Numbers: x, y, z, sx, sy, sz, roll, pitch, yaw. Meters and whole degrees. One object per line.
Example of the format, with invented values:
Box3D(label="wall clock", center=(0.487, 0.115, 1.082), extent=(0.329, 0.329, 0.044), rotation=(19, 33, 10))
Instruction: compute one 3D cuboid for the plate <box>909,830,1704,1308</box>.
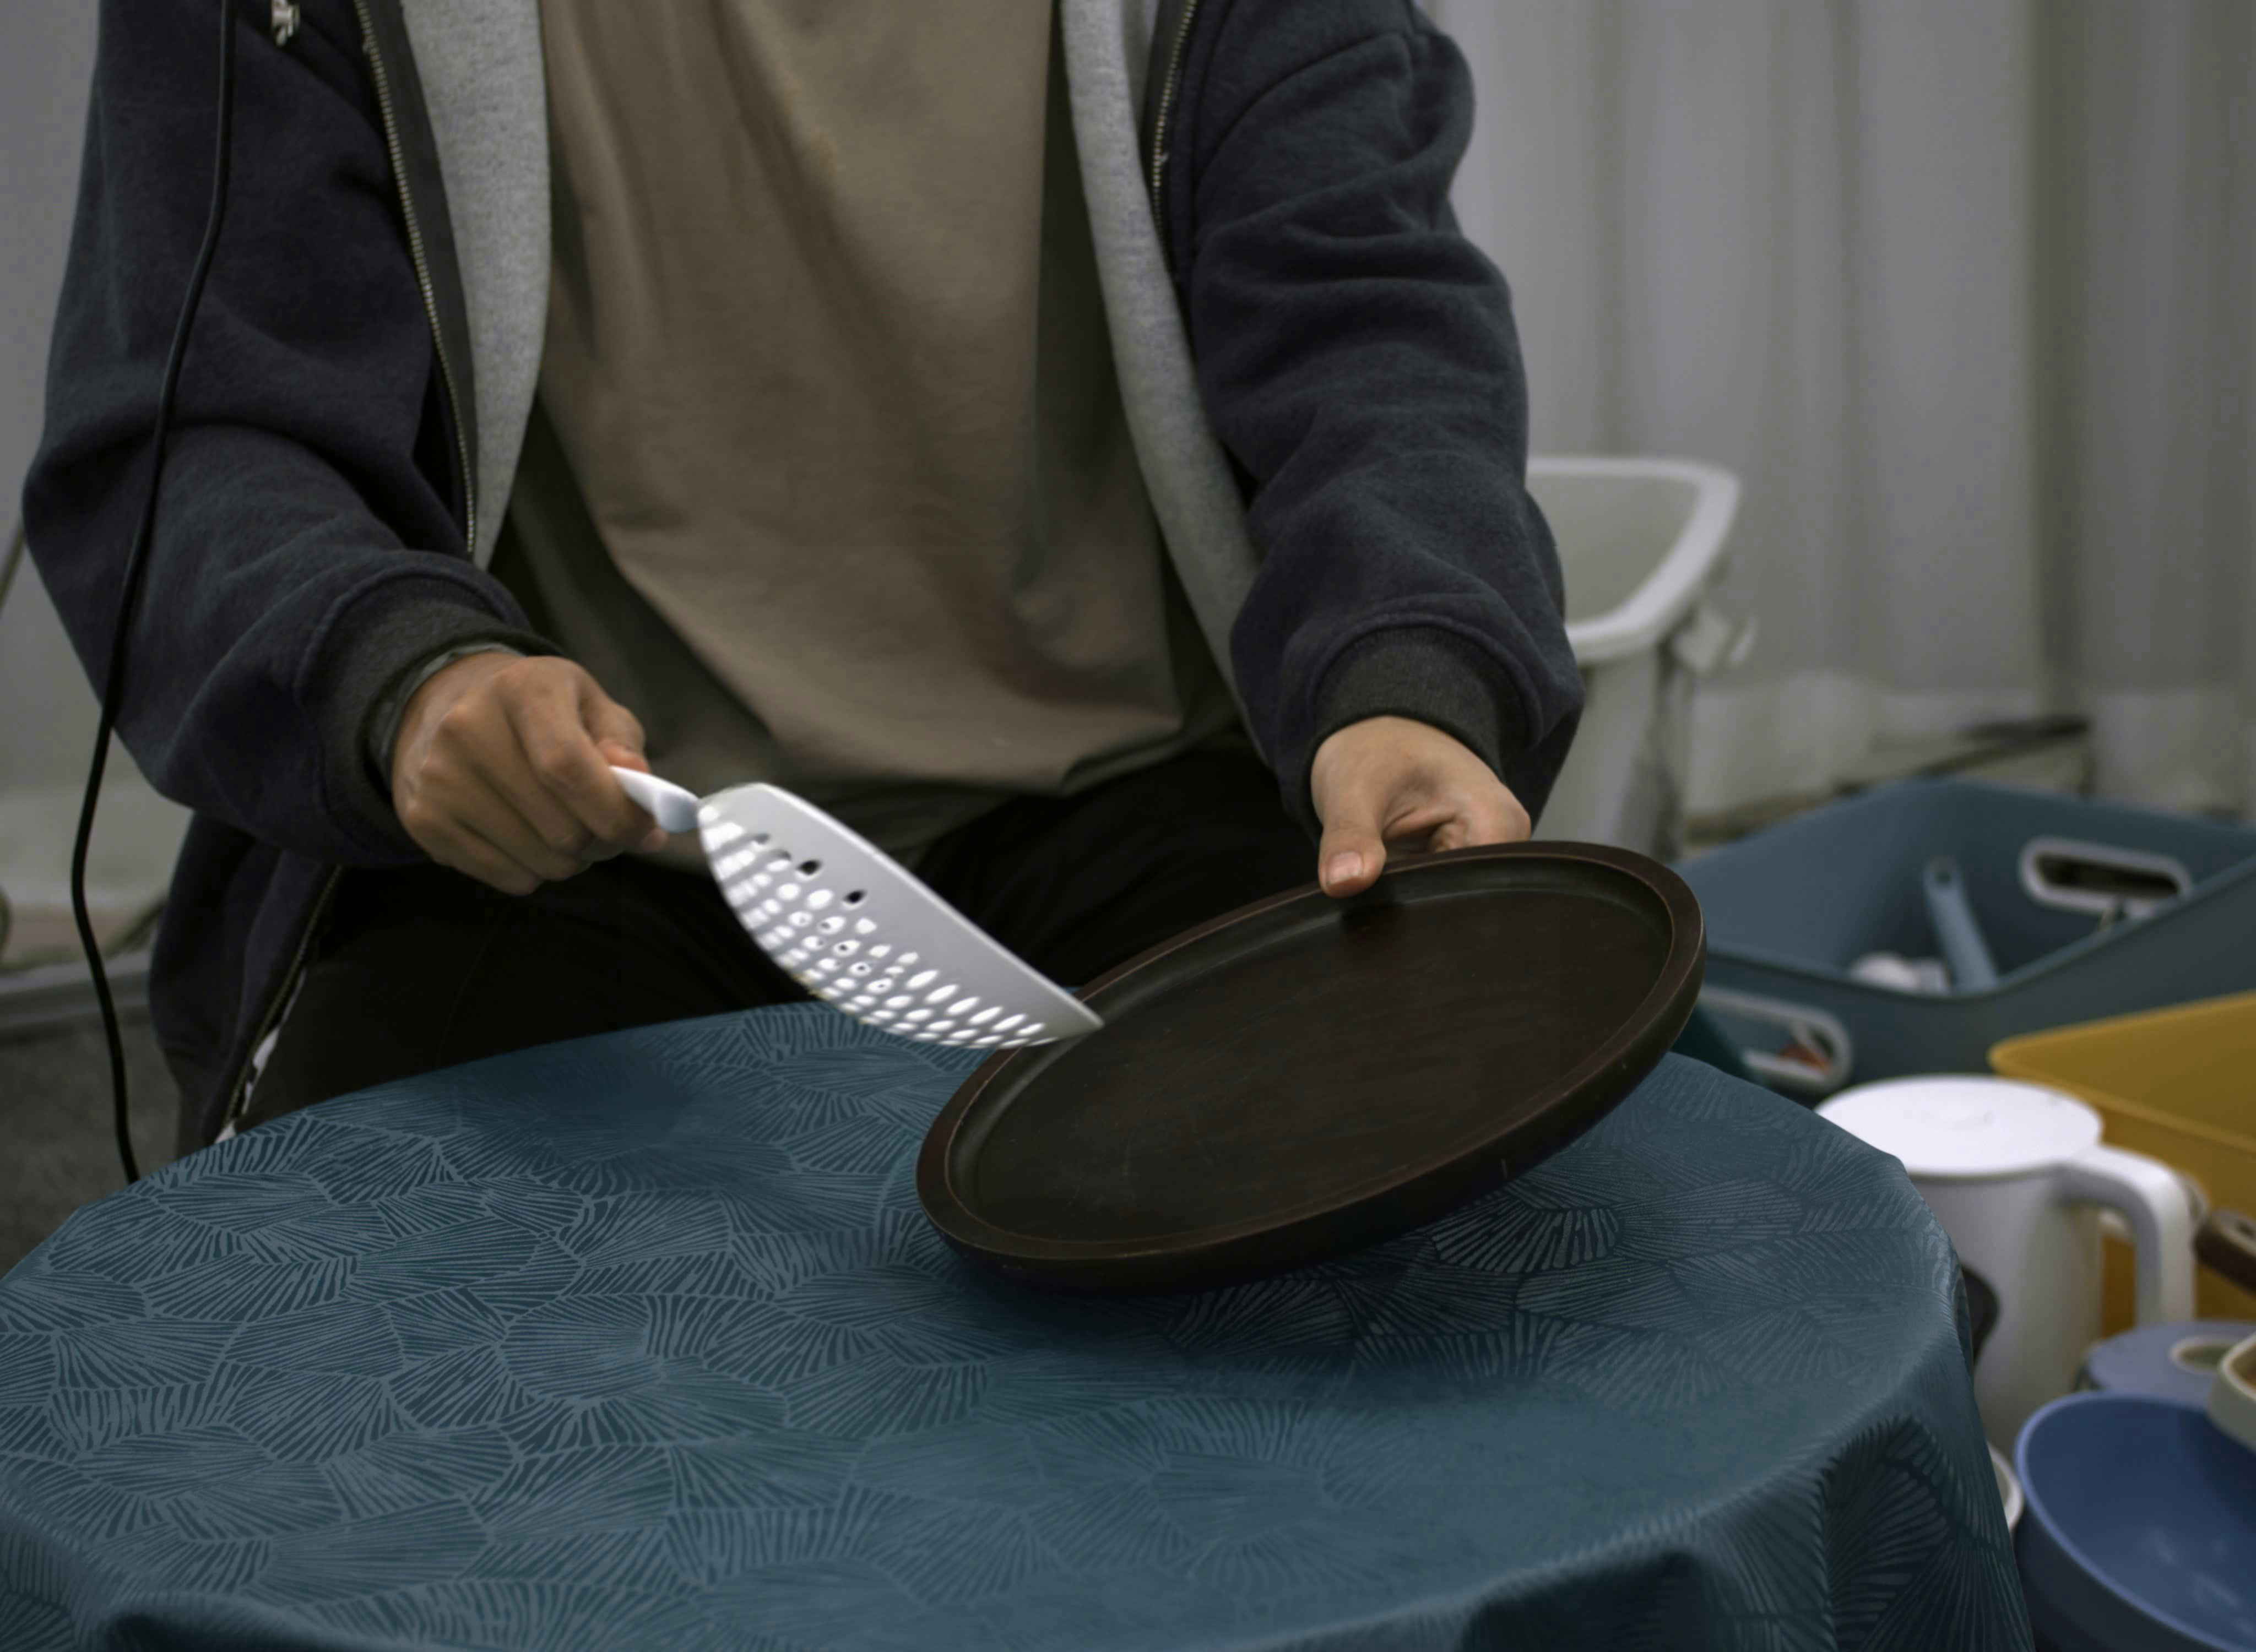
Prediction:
Box3D(label="plate", center=(0.055, 0.074, 1.654), extent=(0.254, 0.029, 0.257), rotation=(-20, 19, 7))

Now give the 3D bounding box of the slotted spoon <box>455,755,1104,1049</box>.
Box3D(label="slotted spoon", center=(-0.126, 0.010, 1.686), extent=(0.135, 0.050, 0.351), rotation=(37, -5, -29))
